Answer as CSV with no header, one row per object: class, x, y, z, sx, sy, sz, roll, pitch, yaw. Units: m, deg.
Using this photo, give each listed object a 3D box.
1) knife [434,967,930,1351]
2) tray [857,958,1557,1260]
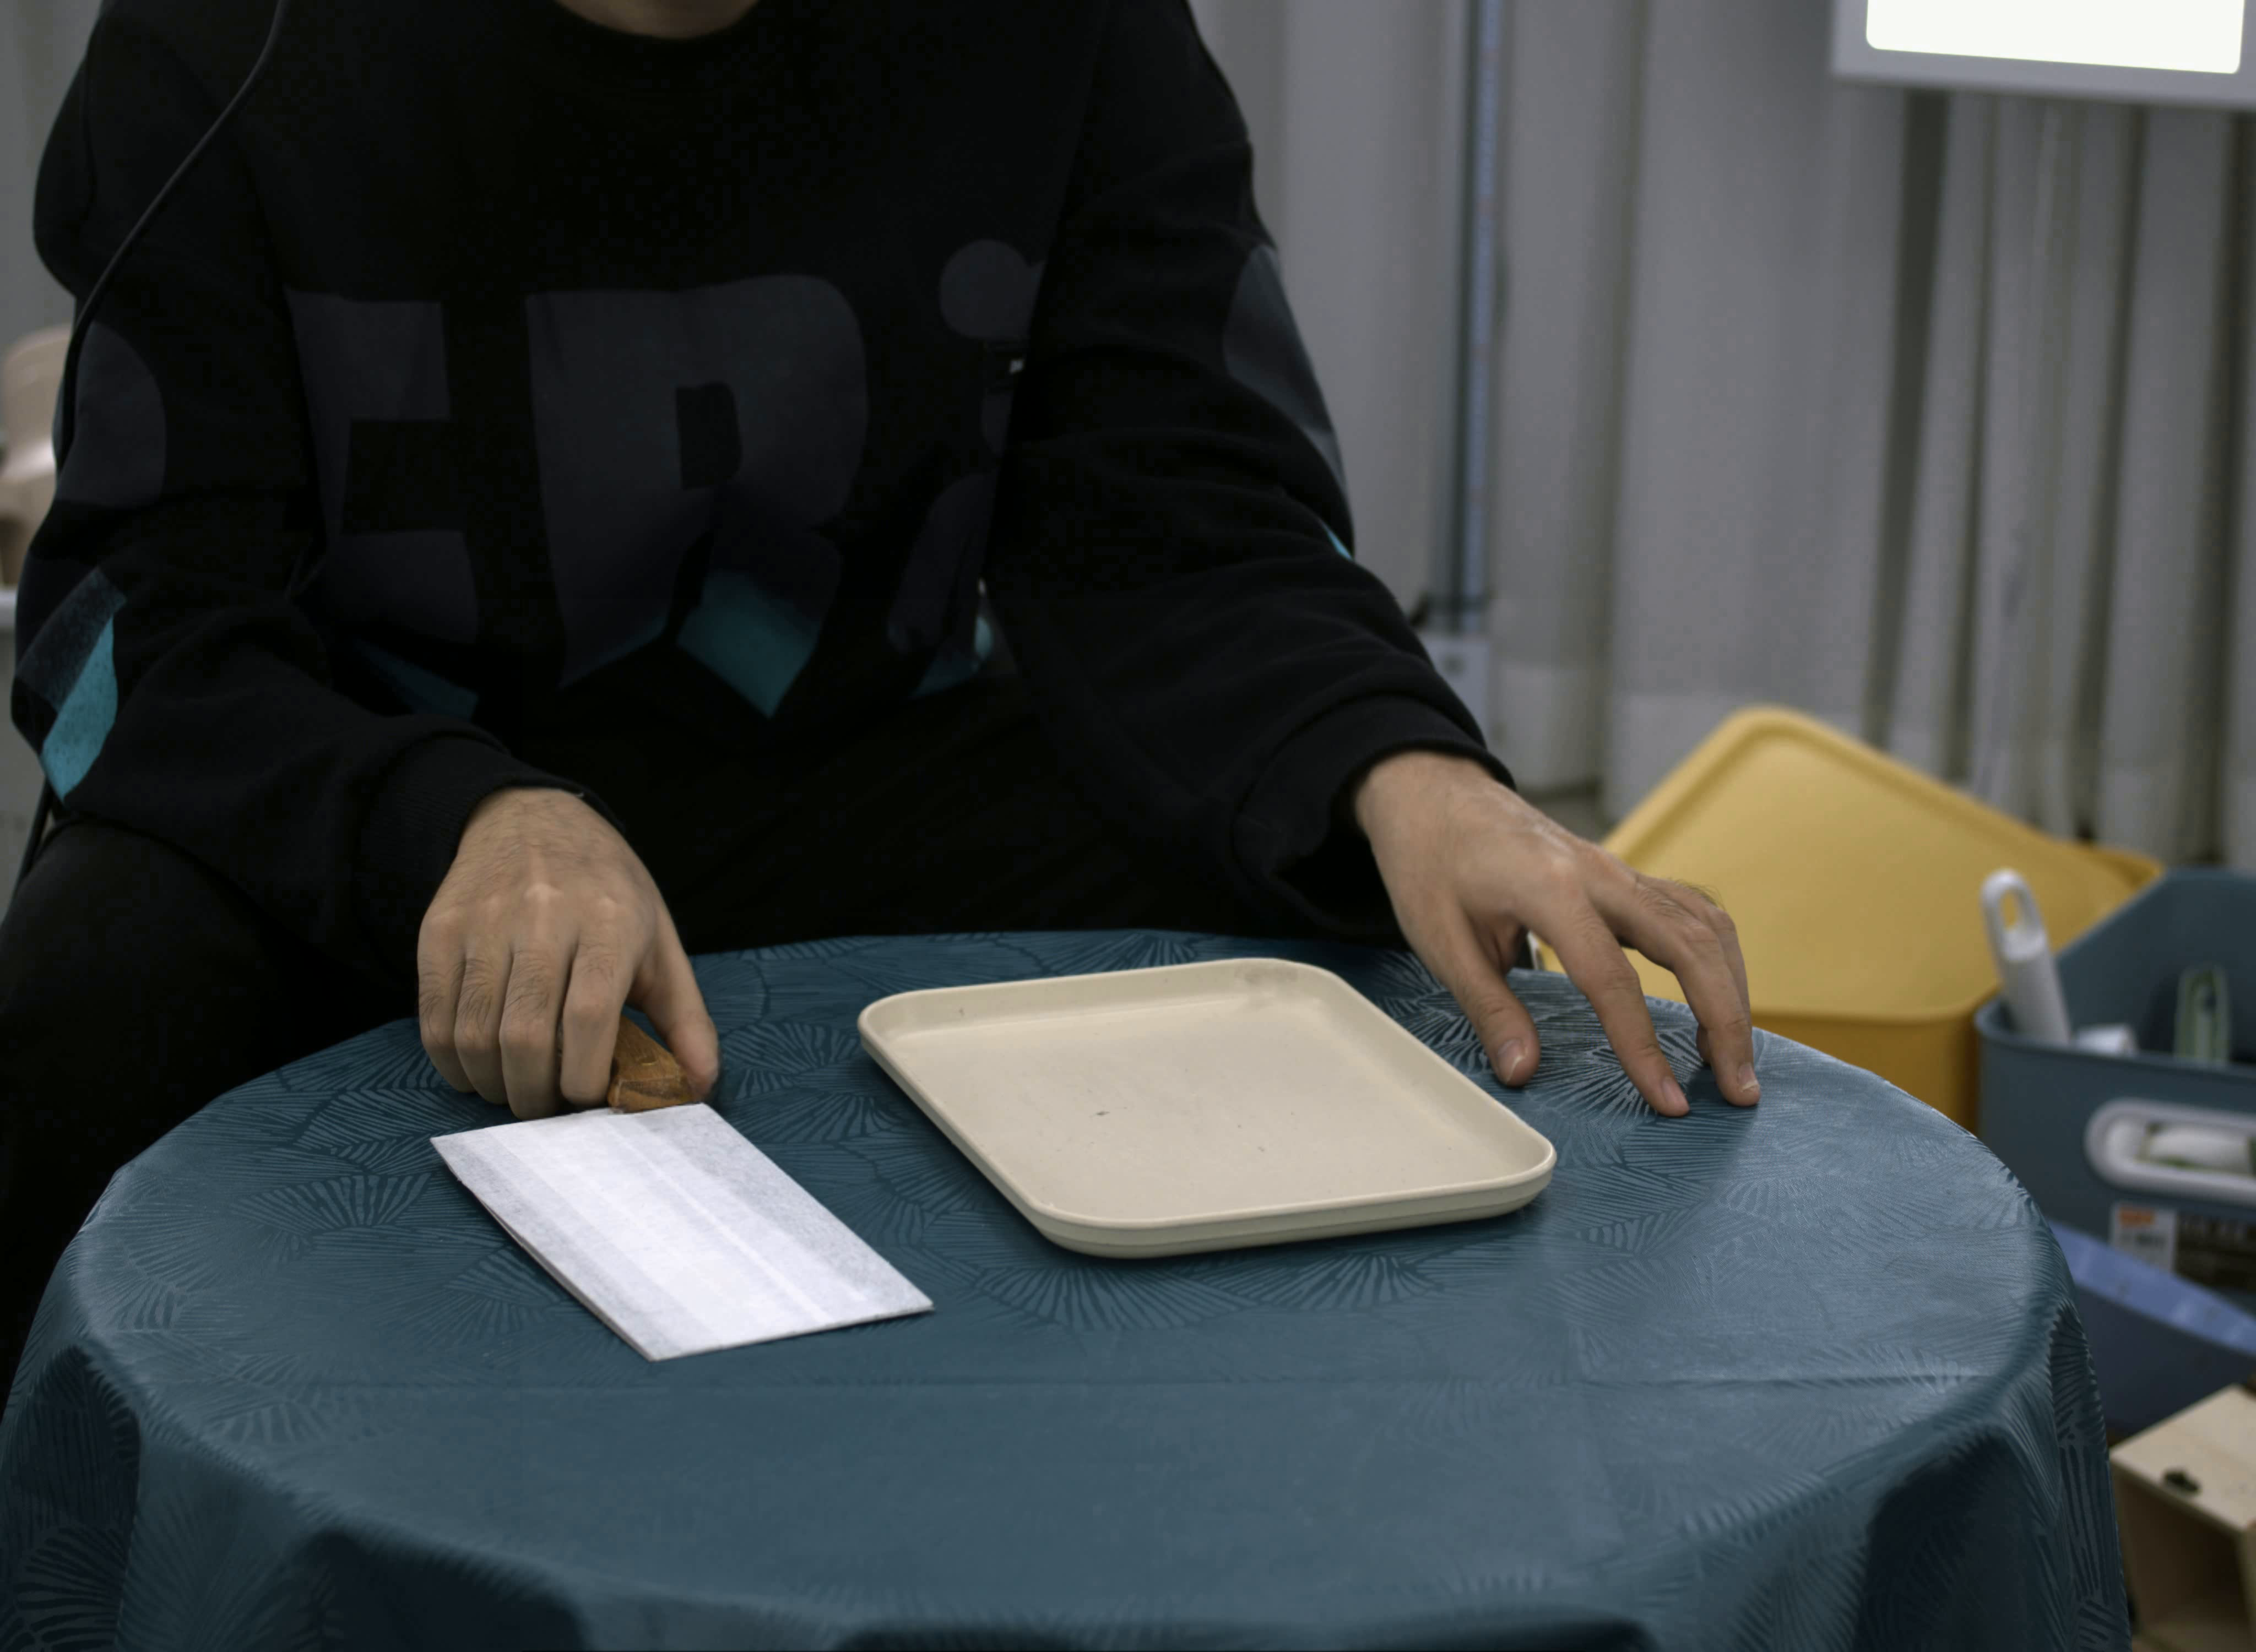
knife,-0.160,0.102,1.627,0.093,0.021,0.302,-9,20,-25
tray,0.021,0.088,1.674,0.171,0.017,0.237,-6,17,-18
